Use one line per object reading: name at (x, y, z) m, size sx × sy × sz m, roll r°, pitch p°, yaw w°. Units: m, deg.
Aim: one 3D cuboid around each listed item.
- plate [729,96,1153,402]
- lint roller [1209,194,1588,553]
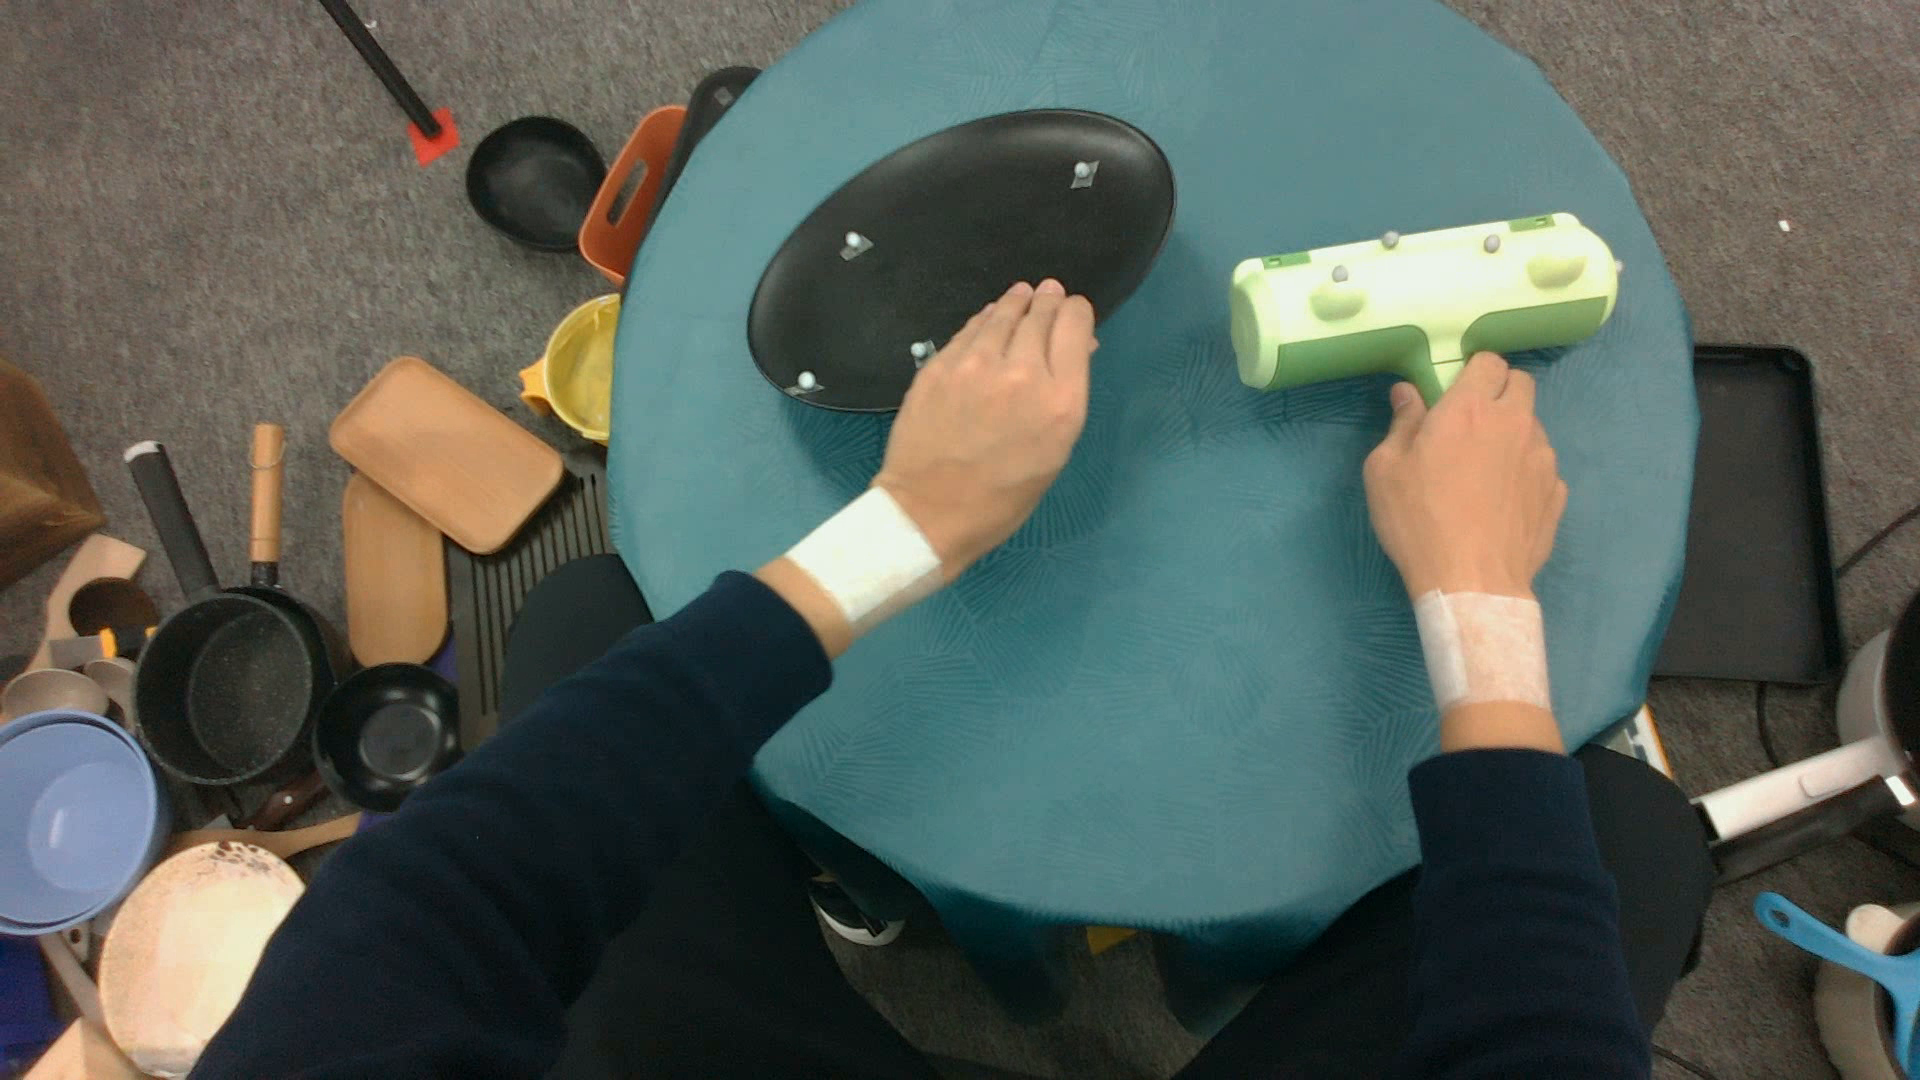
plate at (-0.012, -0.155, 0.735) m, size 0.244 × 0.023 × 0.245 m, roll -16°, pitch 44°, yaw 16°
lint roller at (0.243, -0.088, 0.686) m, size 0.199 × 0.082 × 0.184 m, roll -11°, pitch 64°, yaw -11°
